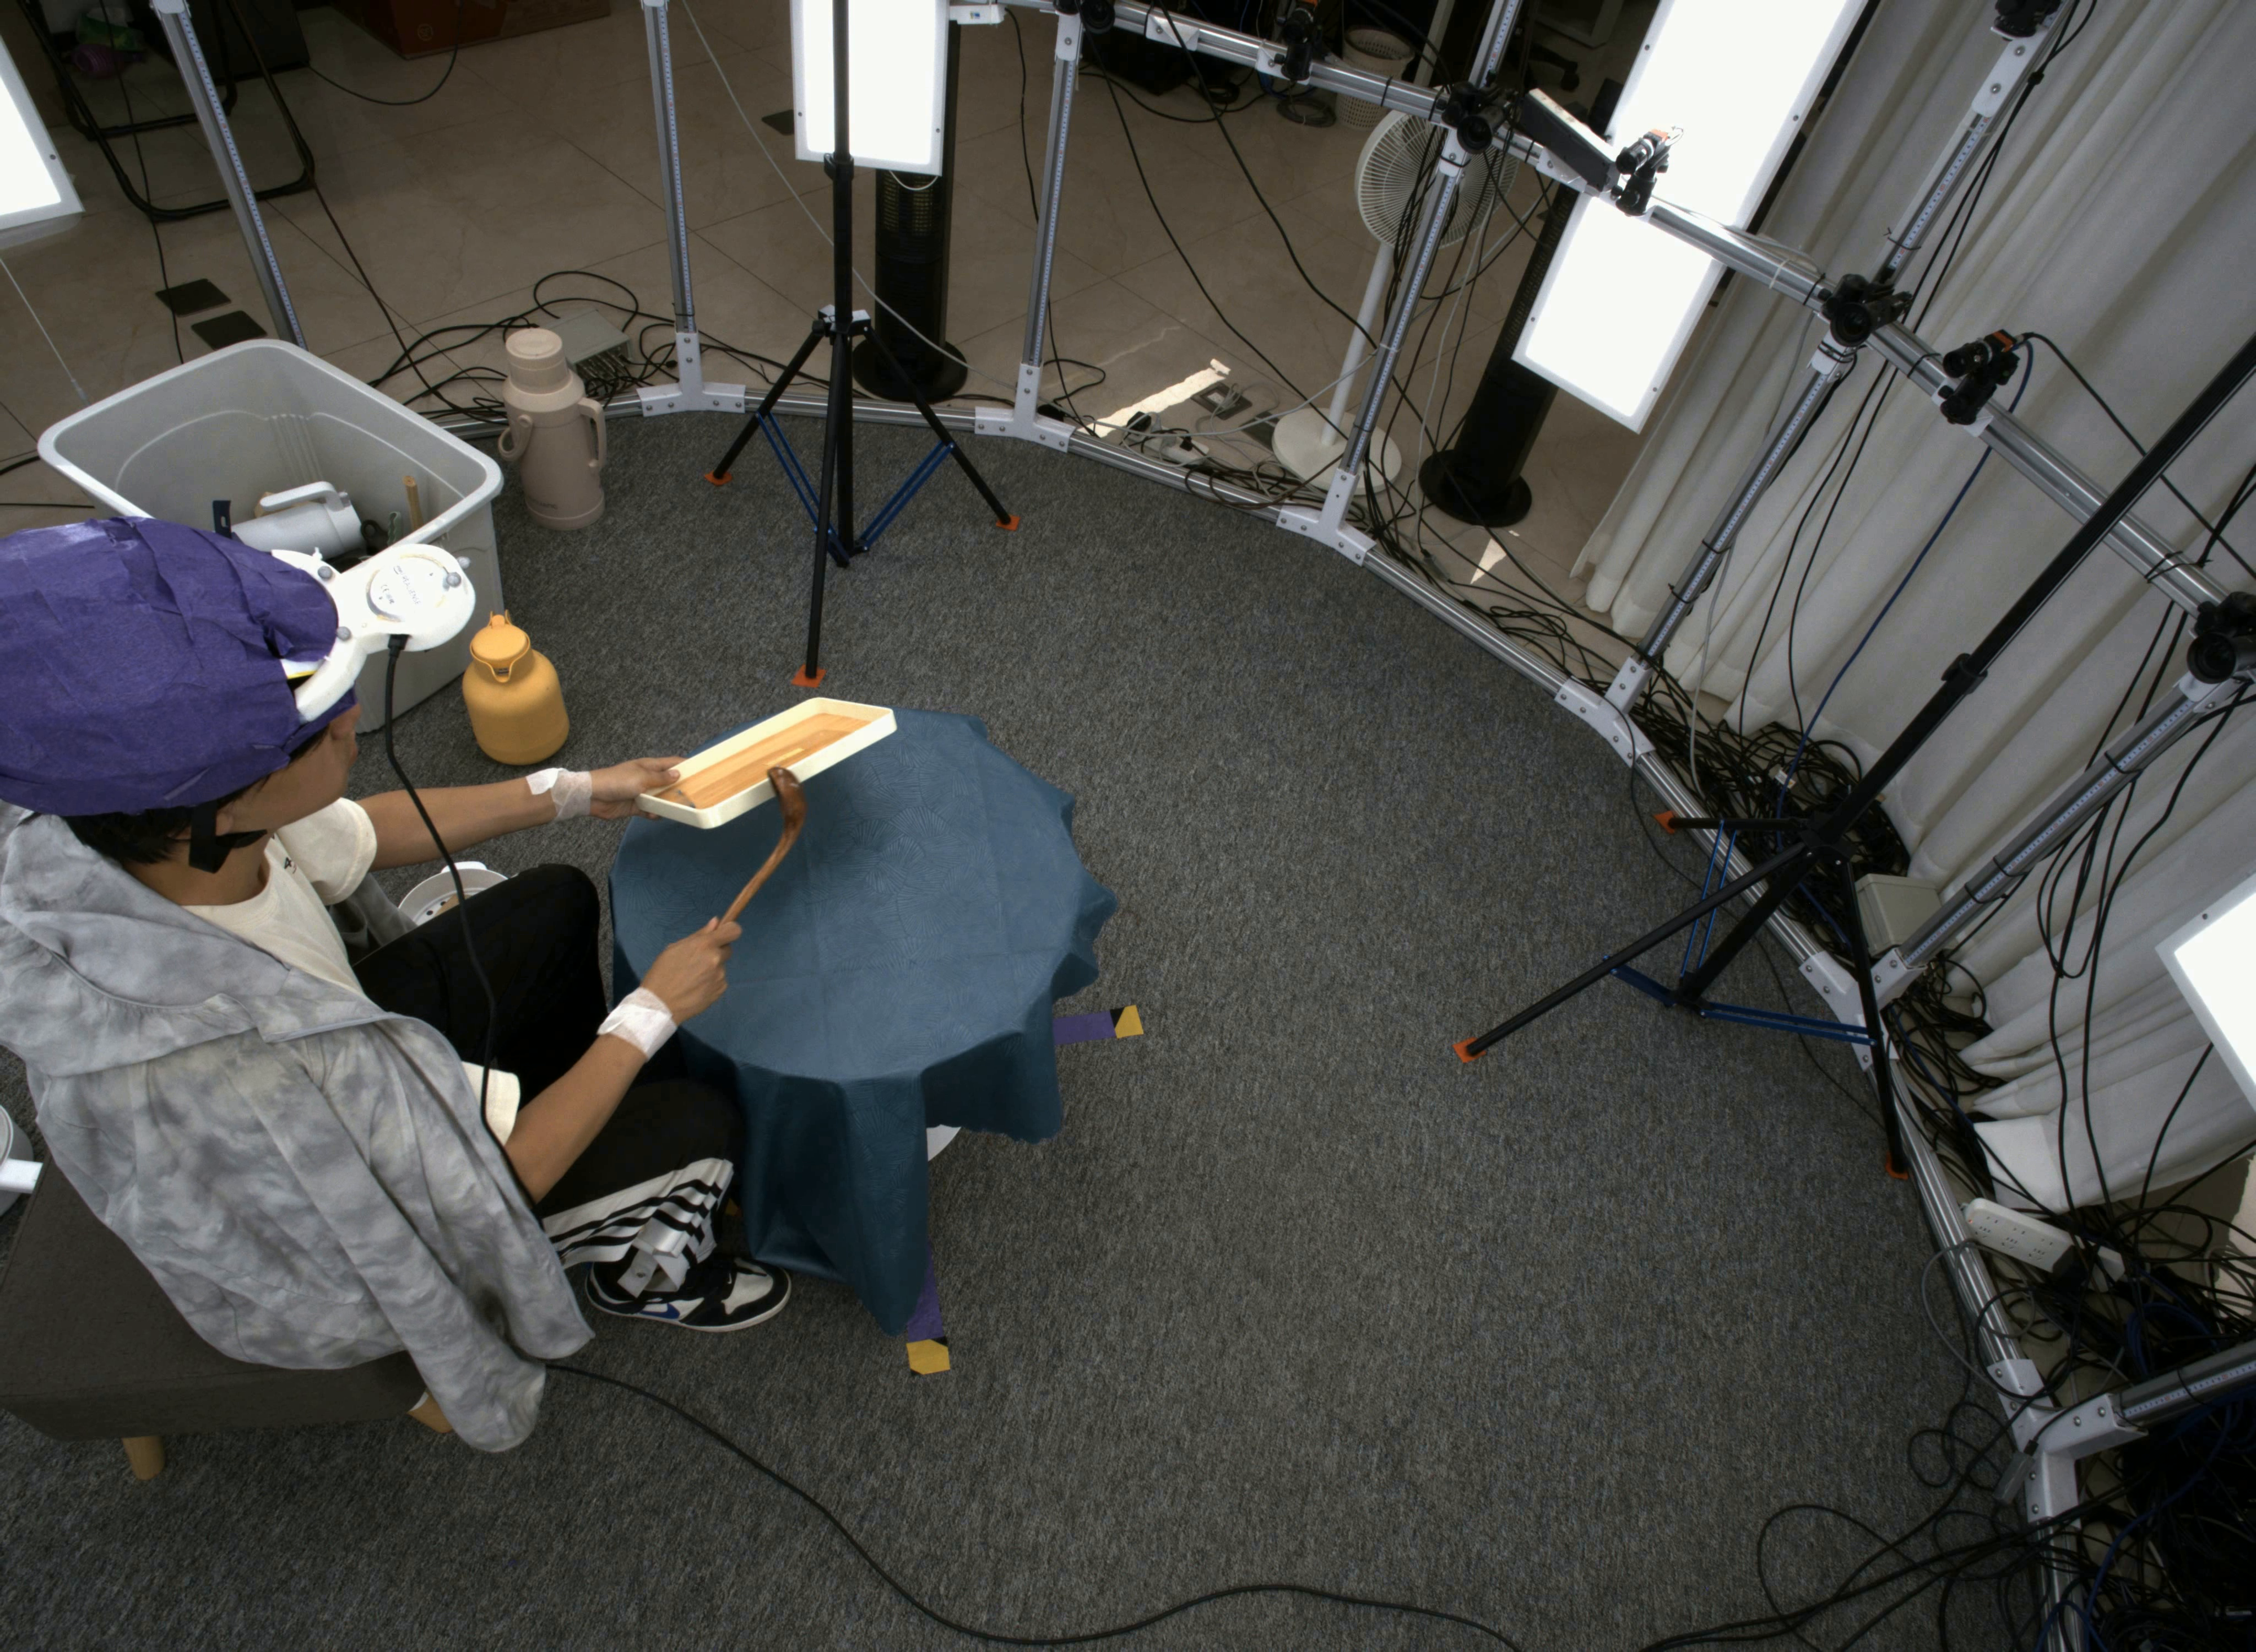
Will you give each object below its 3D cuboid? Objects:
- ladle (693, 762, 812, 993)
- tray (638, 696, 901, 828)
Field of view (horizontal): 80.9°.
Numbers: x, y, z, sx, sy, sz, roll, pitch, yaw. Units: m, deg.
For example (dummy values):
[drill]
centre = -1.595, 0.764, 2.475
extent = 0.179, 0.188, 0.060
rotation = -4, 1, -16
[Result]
[ladle]
centre = -0.447, 0.052, 1.486
extent = 0.076, 0.082, 0.274
rotation = 32, 76, -3
[tray]
centre = -0.452, -0.087, 1.636
extent = 0.184, 0.028, 0.301
rotation = 12, 35, 41
